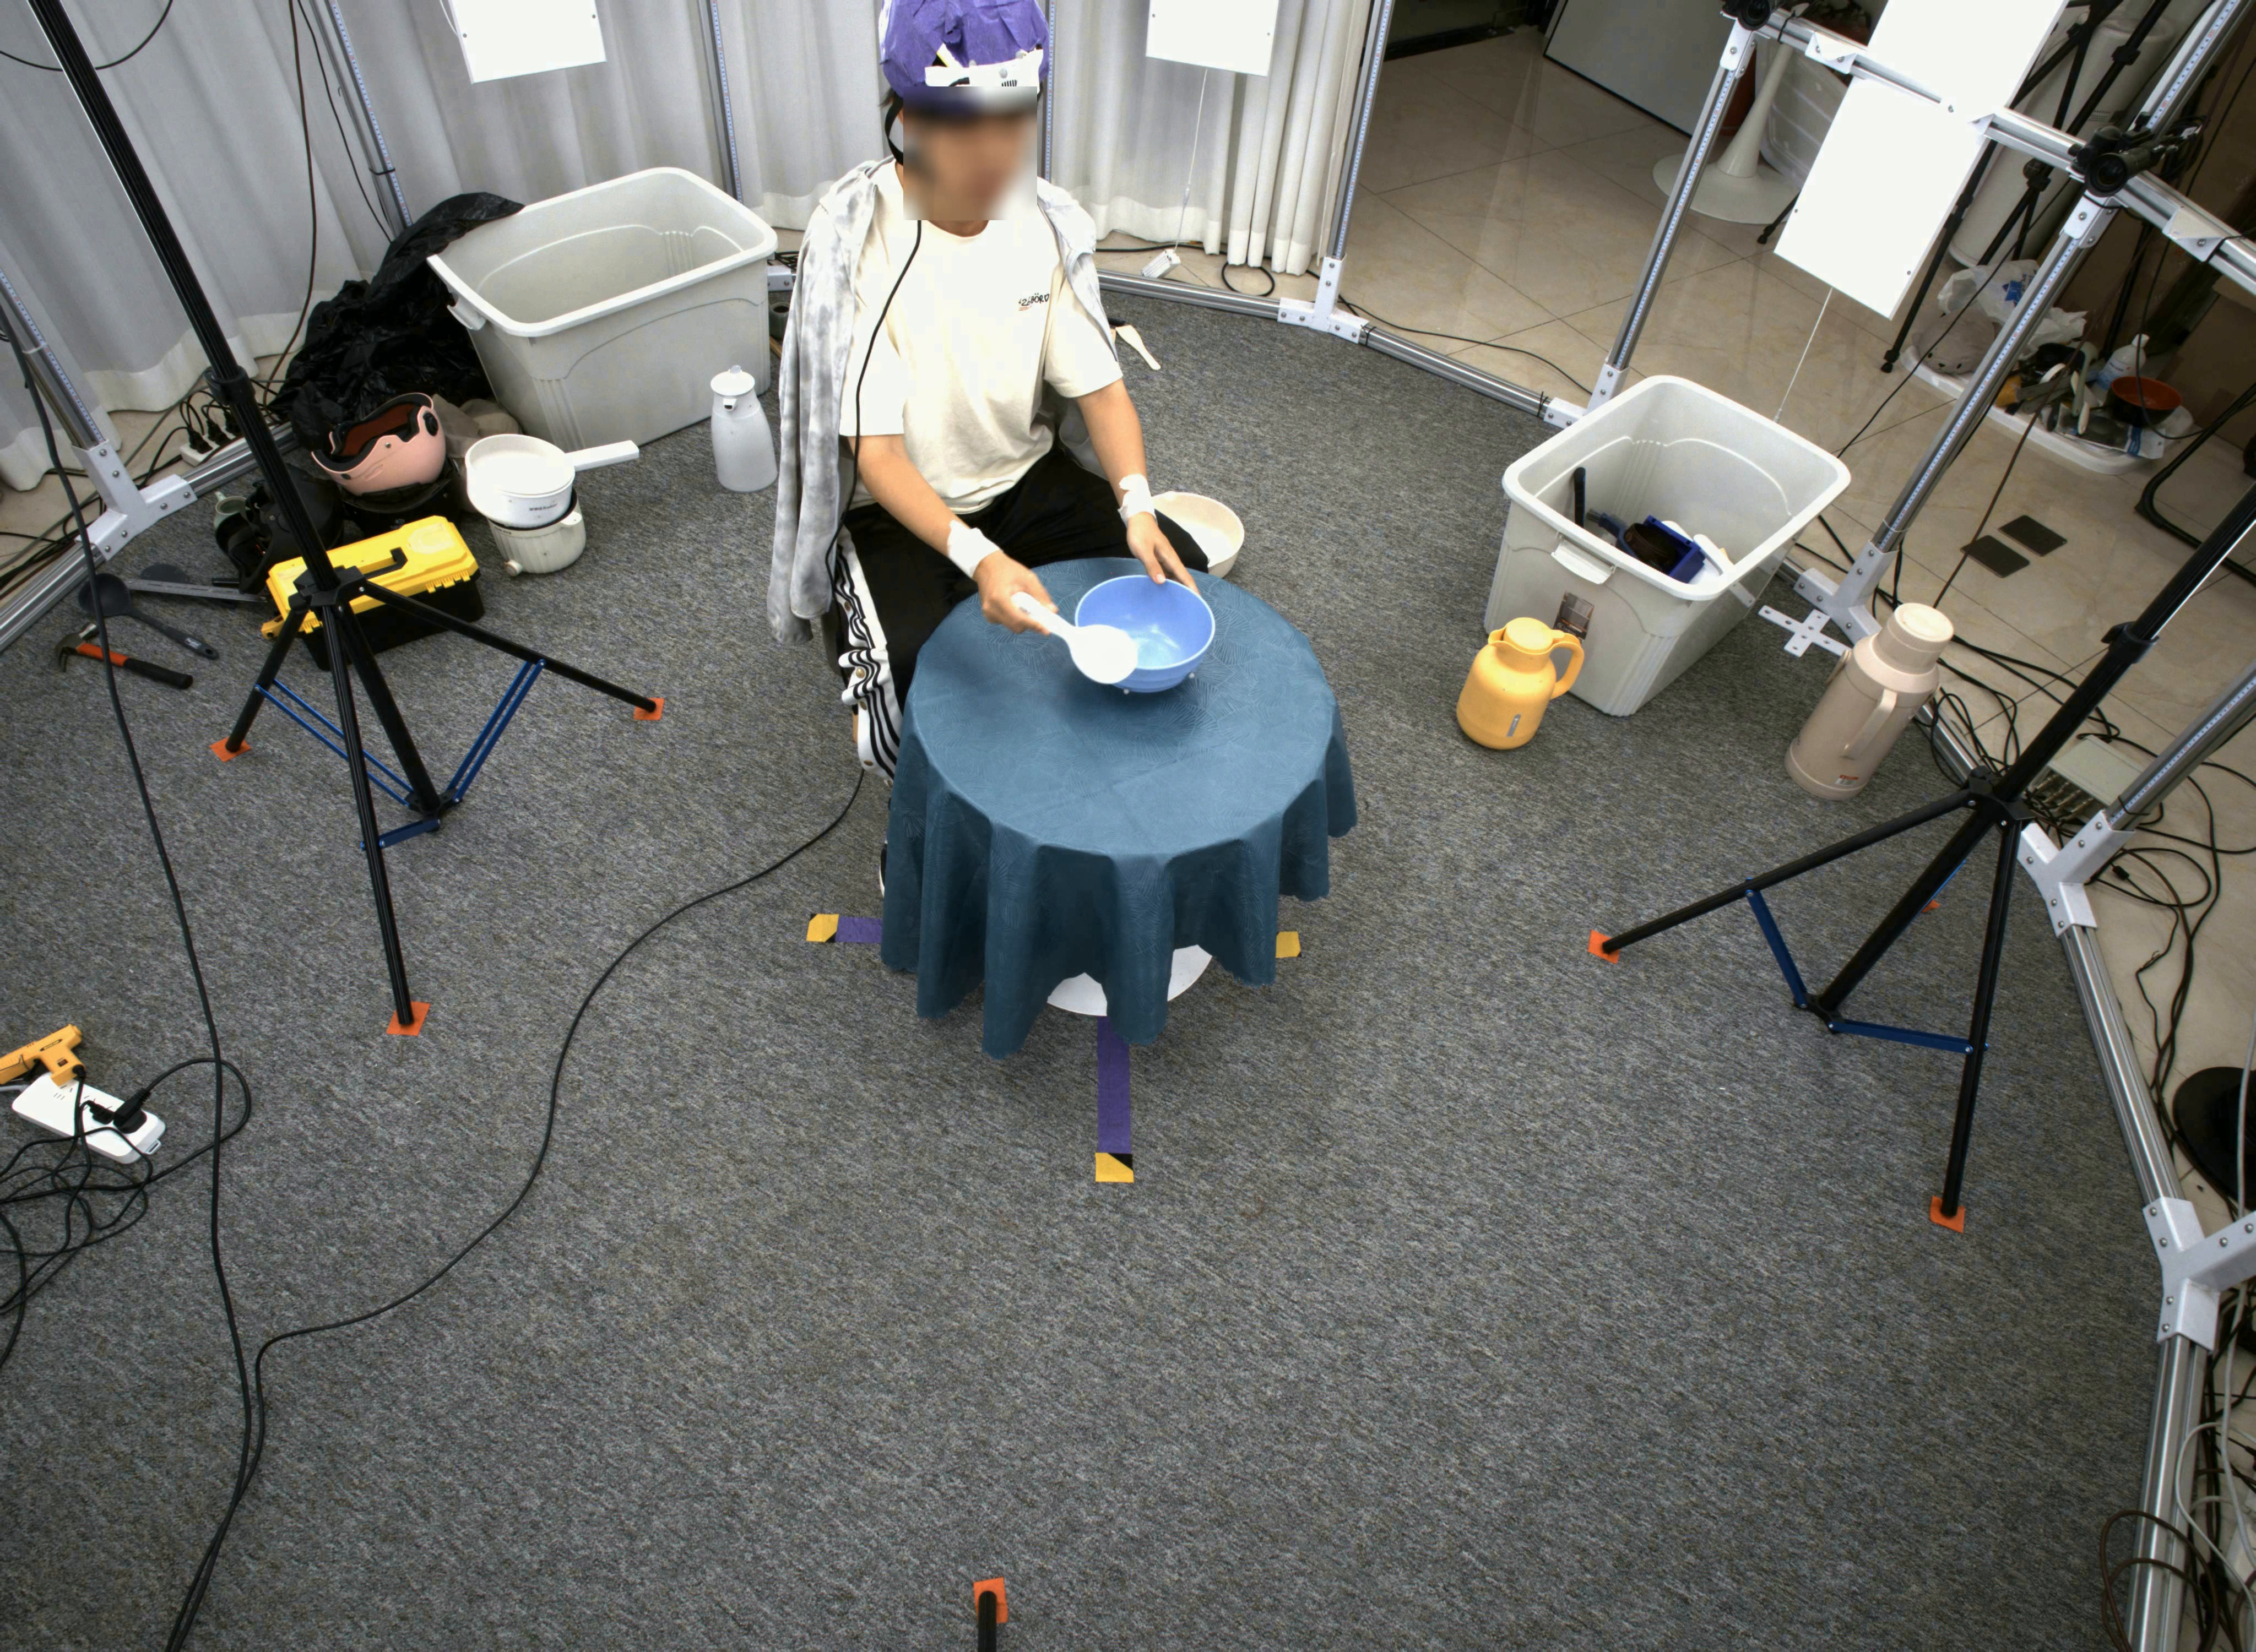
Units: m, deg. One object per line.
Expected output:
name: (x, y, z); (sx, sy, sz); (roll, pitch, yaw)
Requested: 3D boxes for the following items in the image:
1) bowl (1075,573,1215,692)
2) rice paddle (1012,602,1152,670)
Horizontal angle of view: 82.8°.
bowl: (0.021, -0.259, 1.825); (0.196, 0.093, 0.201); (2, 51, -2)
rice paddle: (-0.061, -0.259, 1.723); (0.207, 0.029, 0.069); (21, 74, 21)
